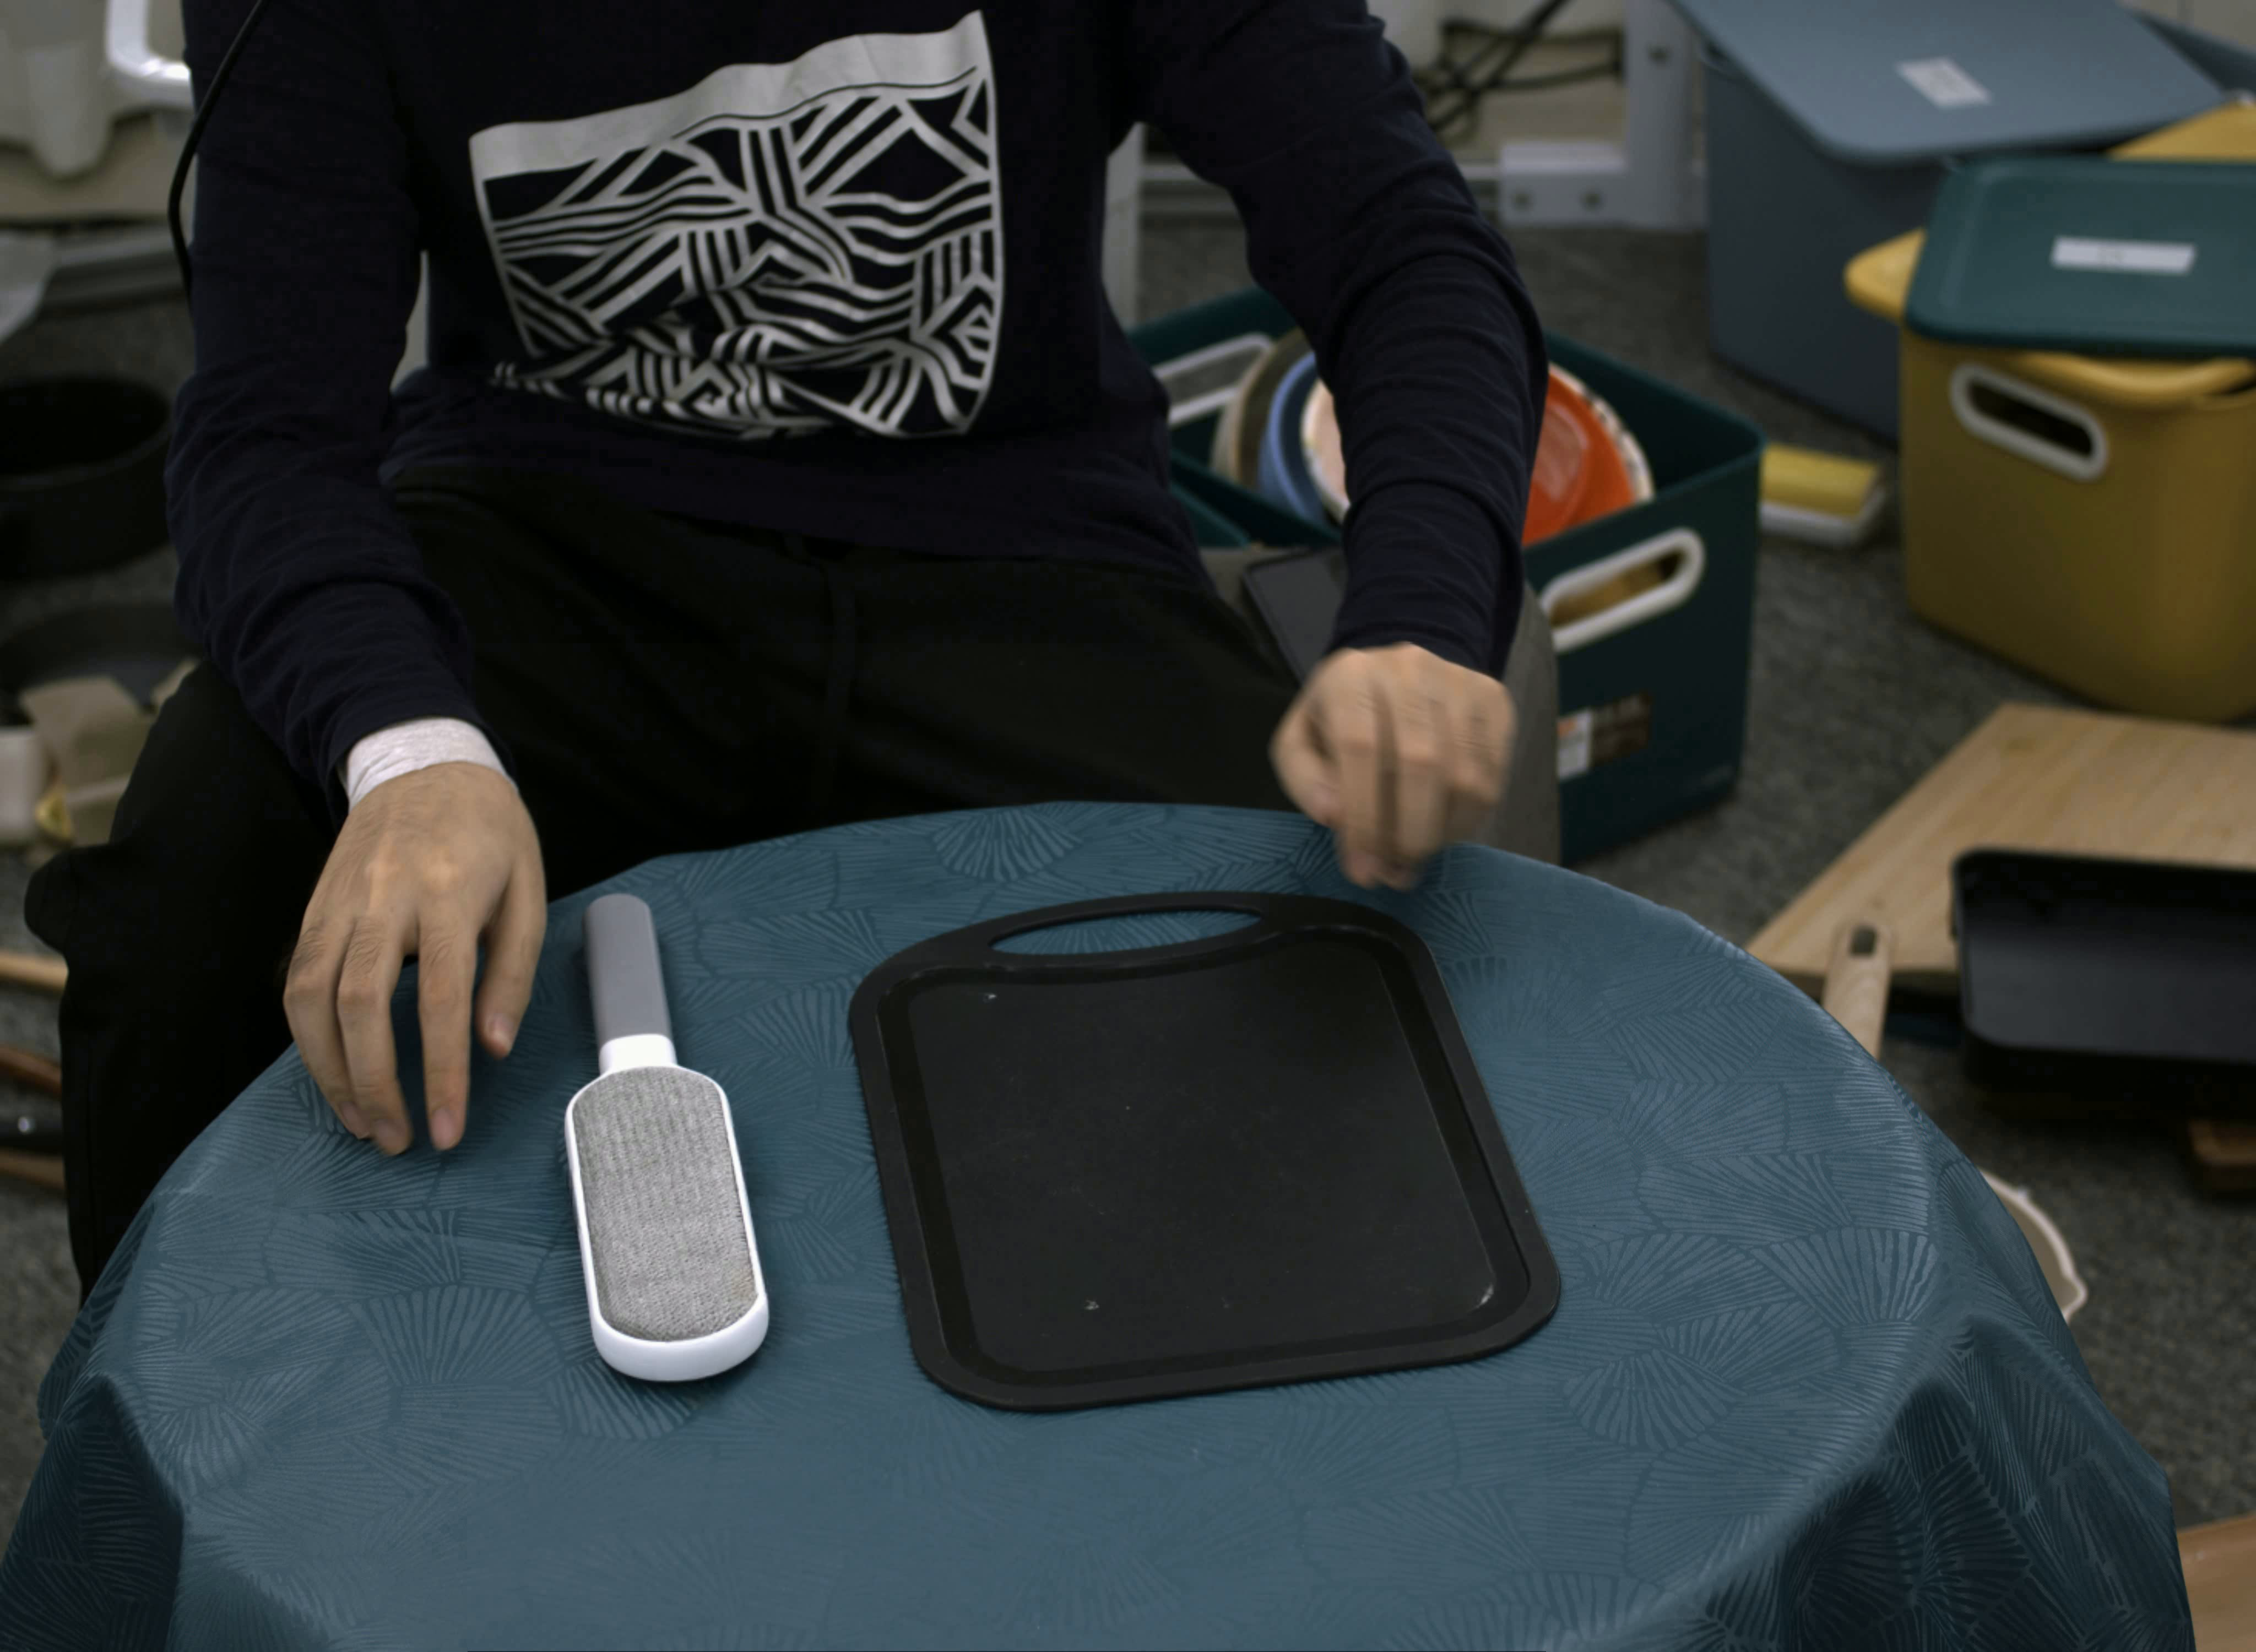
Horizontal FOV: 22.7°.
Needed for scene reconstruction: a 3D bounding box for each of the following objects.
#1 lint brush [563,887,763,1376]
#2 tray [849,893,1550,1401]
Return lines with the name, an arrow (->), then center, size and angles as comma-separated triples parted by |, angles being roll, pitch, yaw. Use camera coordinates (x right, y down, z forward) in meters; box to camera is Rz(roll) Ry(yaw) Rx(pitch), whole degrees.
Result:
lint brush -> -0.161, 0.098, 1.894 | 0.060, 0.021, 0.313 | -11, 28, -4
tray -> 0.017, 0.099, 1.896 | 0.210, 0.009, 0.329 | -5, 27, -5
